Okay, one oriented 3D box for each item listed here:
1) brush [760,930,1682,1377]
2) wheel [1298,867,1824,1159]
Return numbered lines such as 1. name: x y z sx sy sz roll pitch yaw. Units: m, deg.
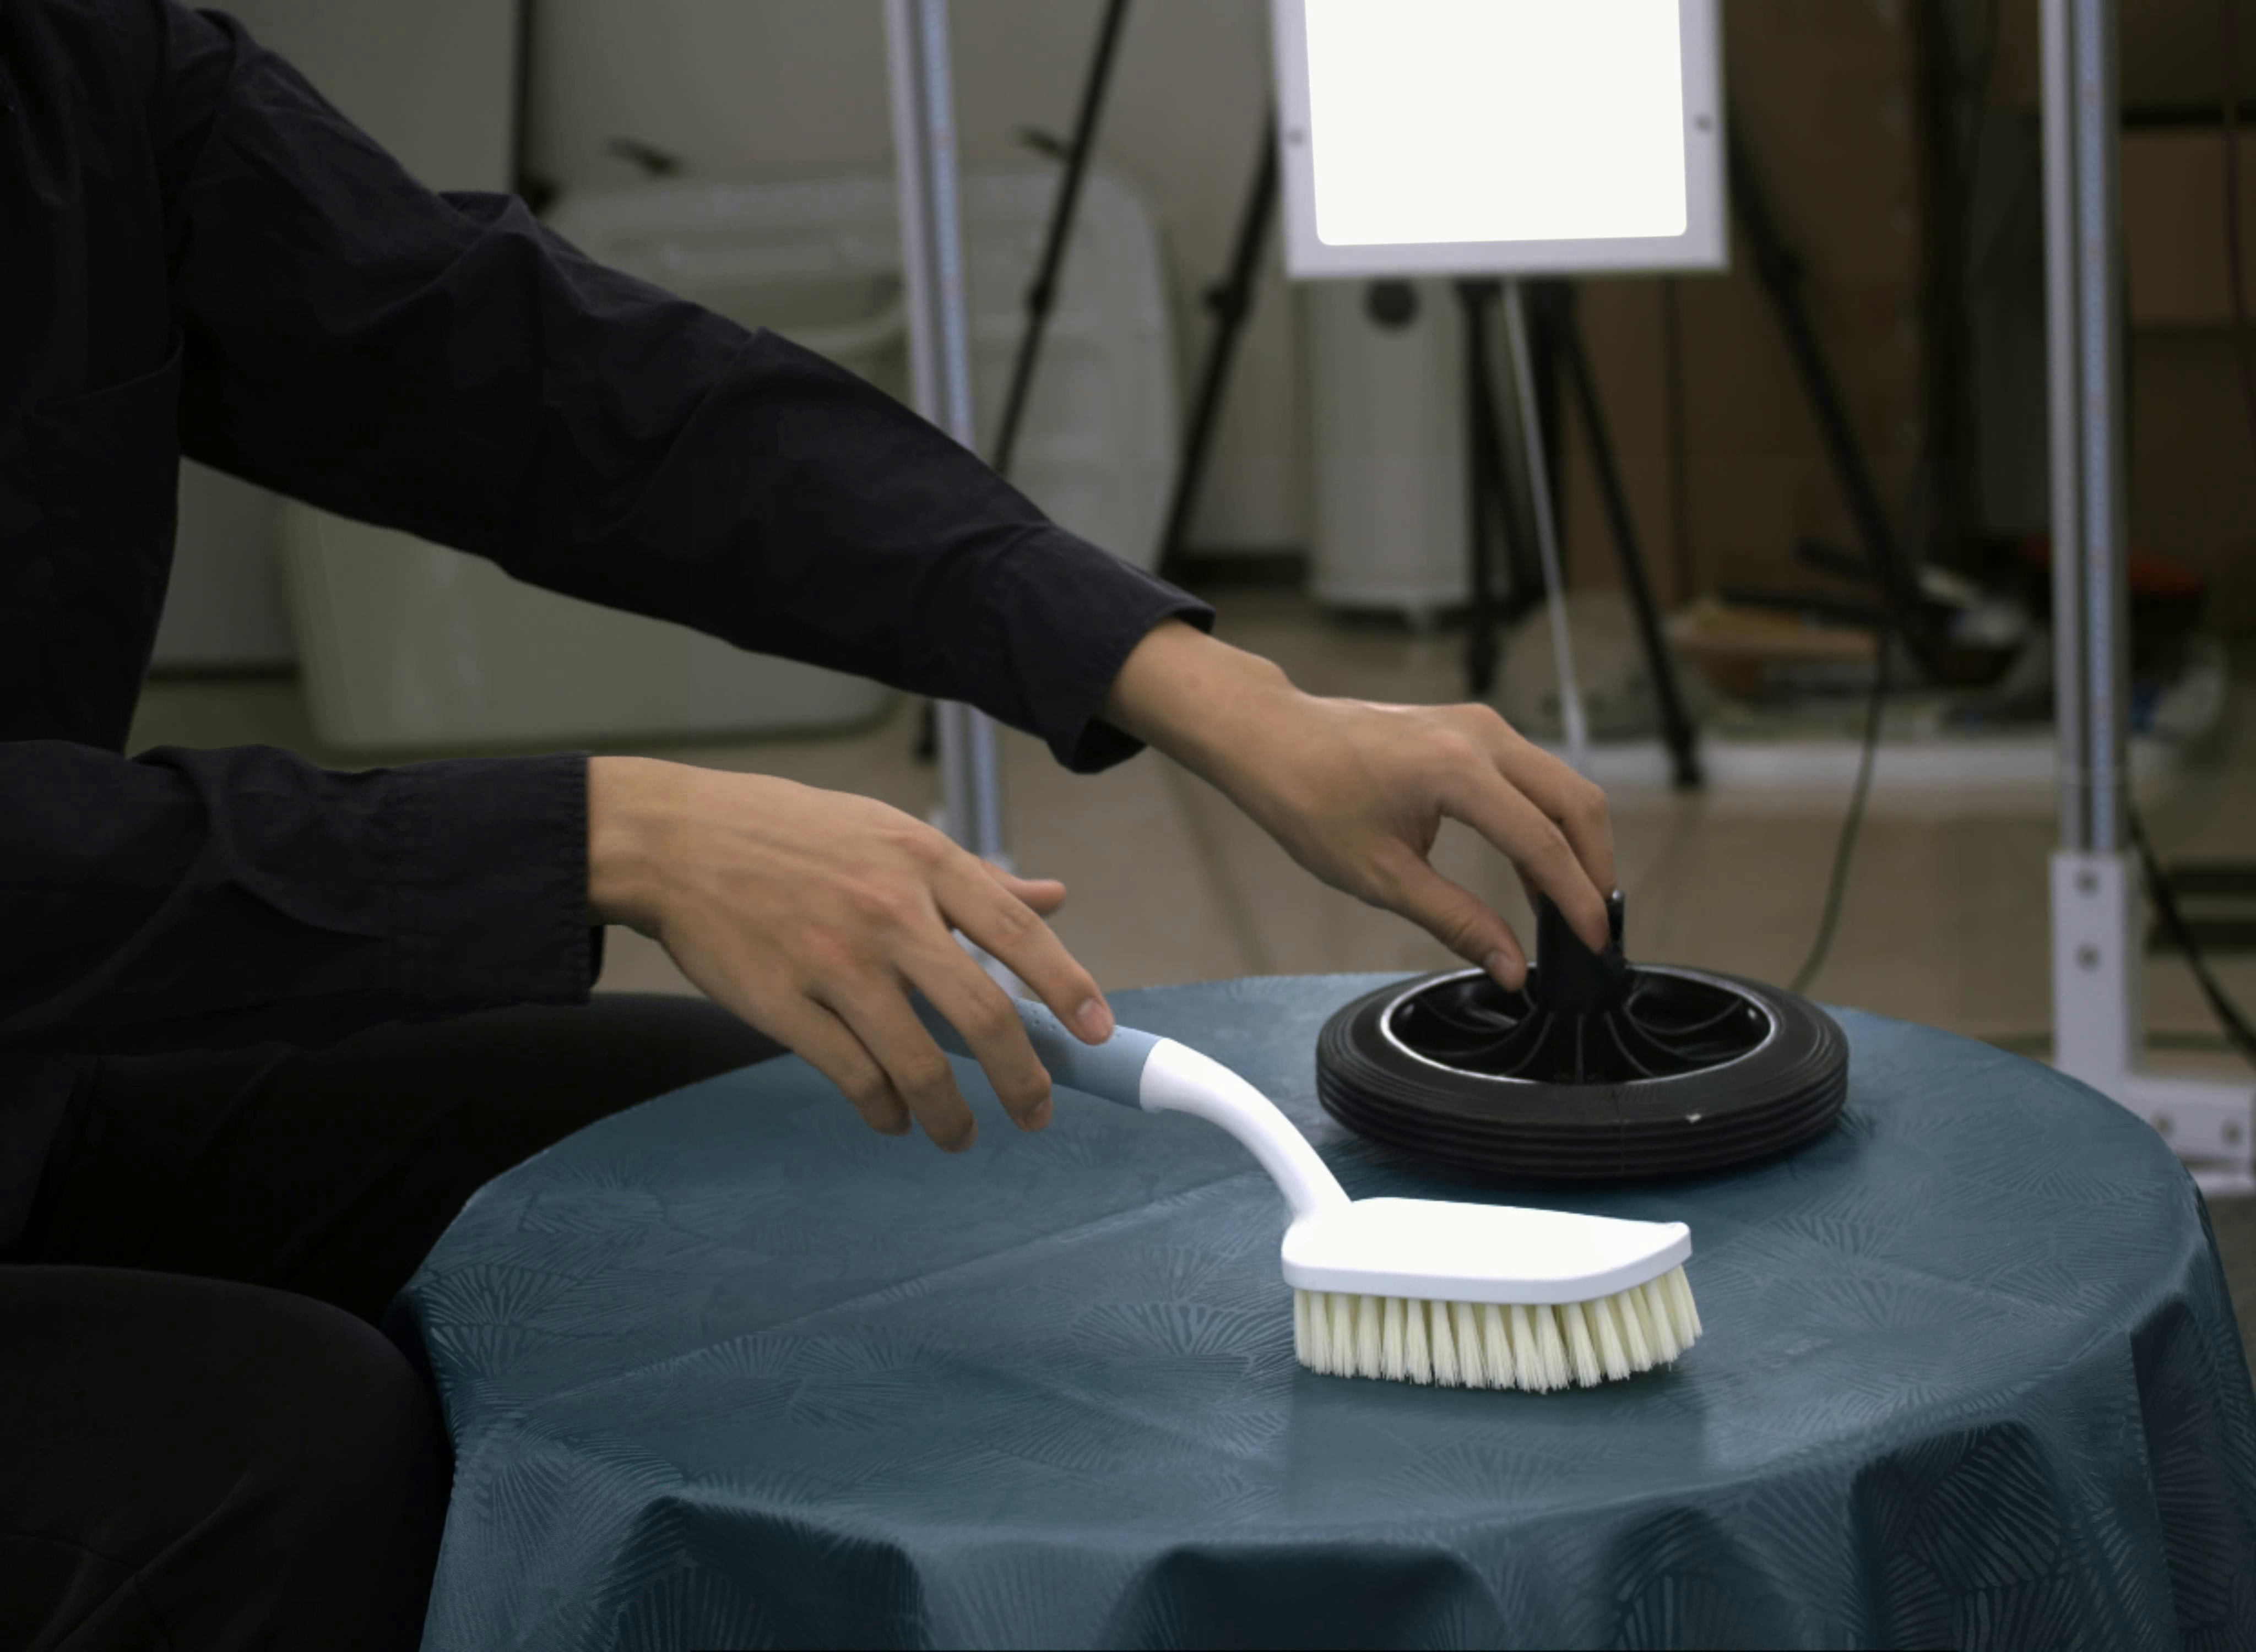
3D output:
1. brush: 0.024 0.117 1.748 0.330 0.084 0.082 16 -15 25
2. wheel: 0.152 0.056 1.944 0.185 0.079 0.191 -15 21 -32
